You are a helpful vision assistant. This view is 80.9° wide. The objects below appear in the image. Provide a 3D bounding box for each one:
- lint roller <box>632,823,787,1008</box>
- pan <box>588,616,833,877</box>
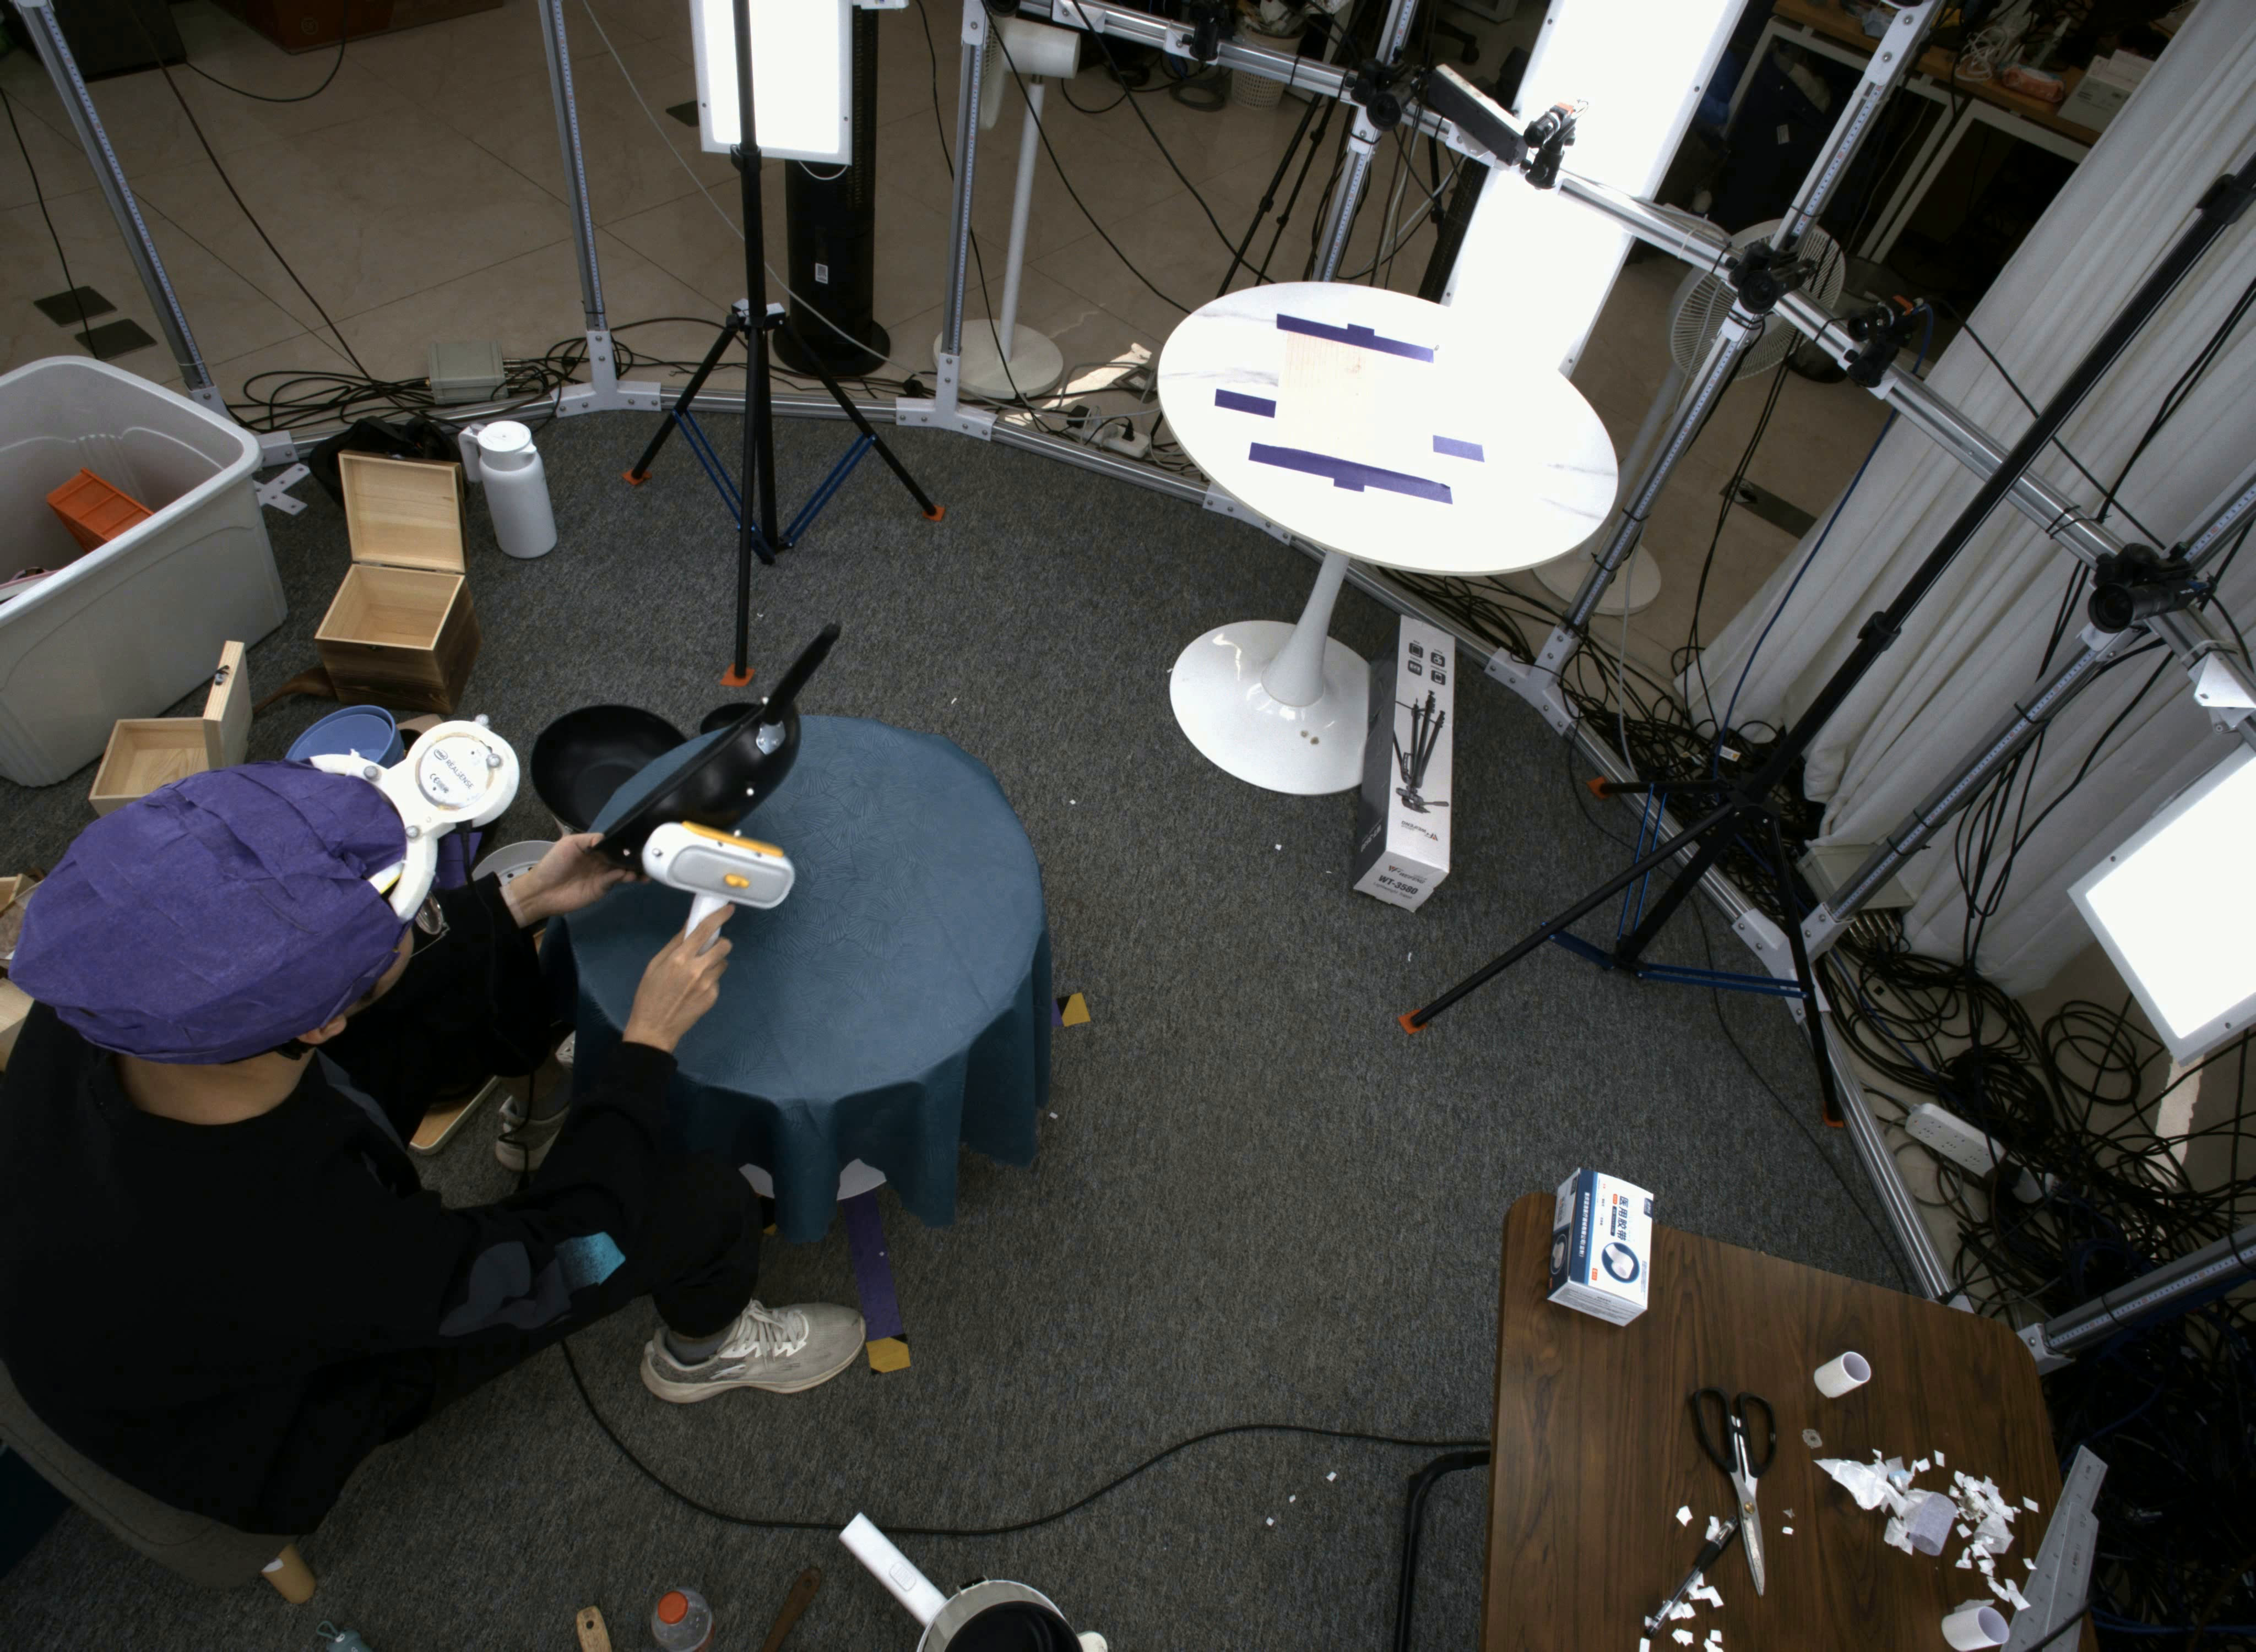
[{"bbox_3d":[-0.478,0.102,1.443,0.071,0.197,0.194,21,93,29],"label":"lint roller"},{"bbox_3d":[-0.451,-0.082,1.489,0.114,0.469,0.307,49,36,-17],"label":"pan"}]
